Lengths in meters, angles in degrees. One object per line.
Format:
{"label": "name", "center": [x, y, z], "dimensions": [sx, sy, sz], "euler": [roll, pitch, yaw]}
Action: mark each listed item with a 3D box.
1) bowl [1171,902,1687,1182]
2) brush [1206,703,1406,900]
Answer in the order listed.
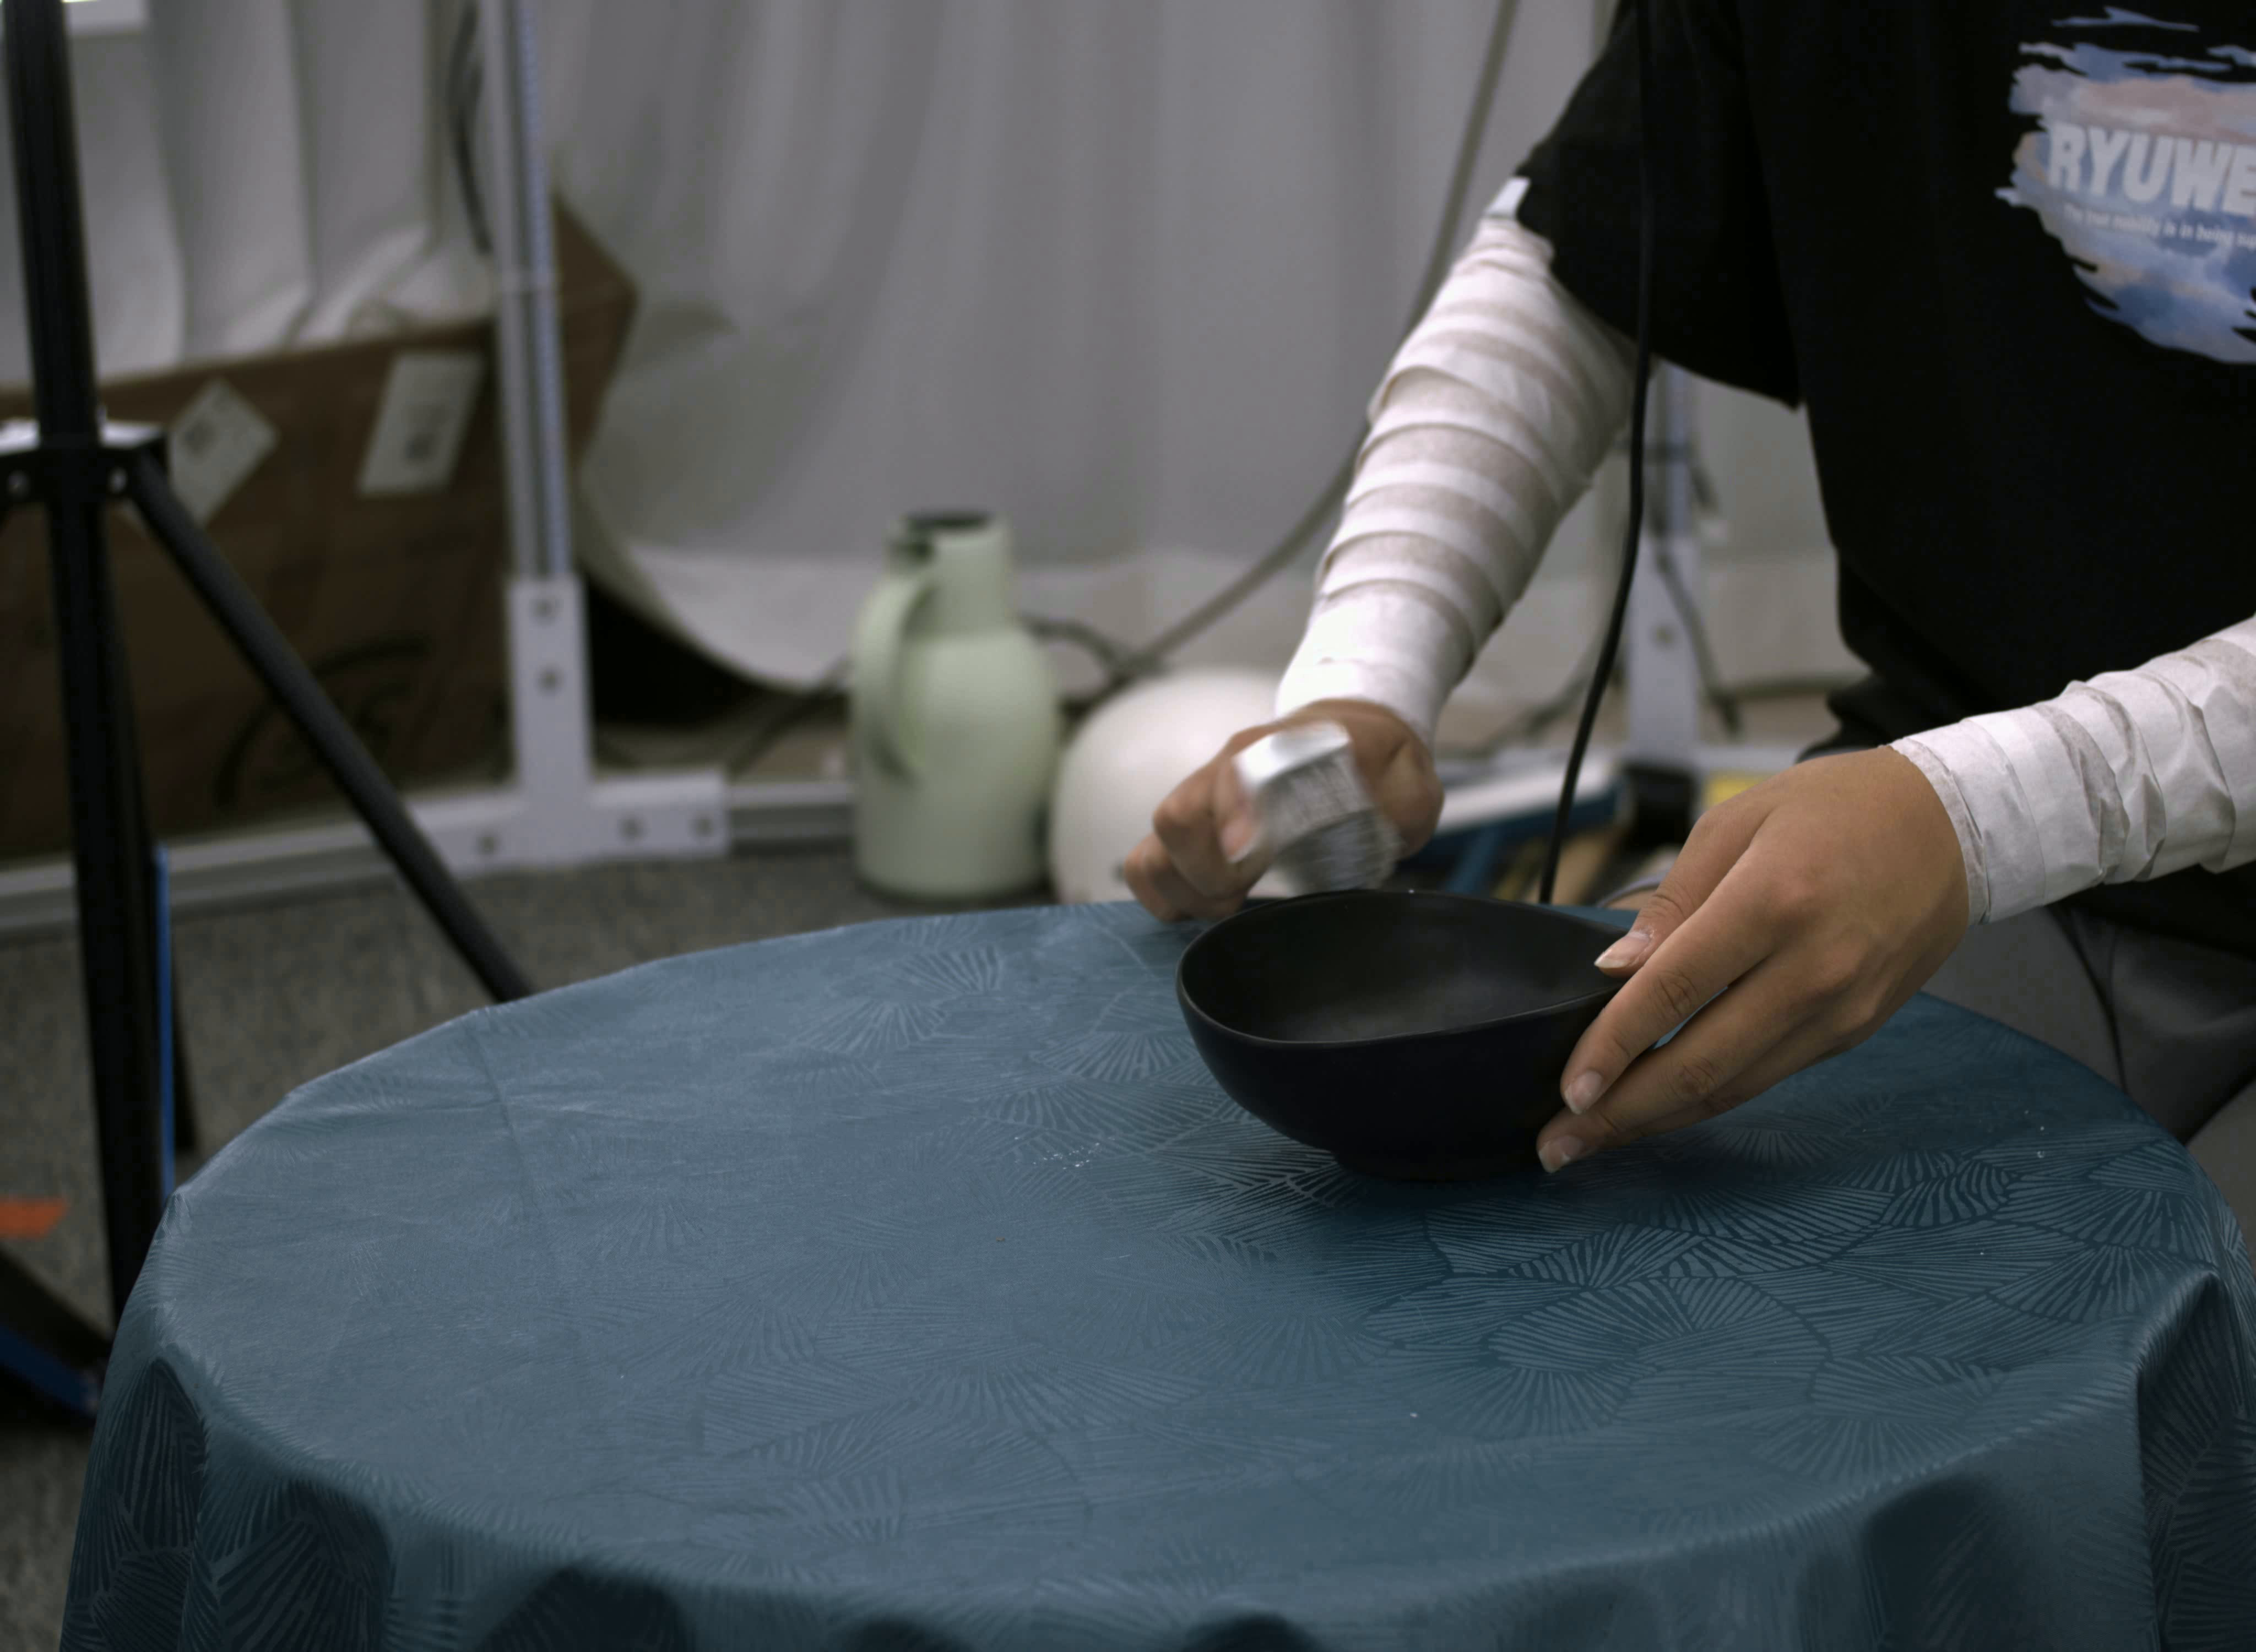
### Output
{"label": "bowl", "center": [0.090, 0.066, 1.577], "dimensions": [0.166, 0.067, 0.140], "euler": [-14, 19, -43]}
{"label": "brush", "center": [0.056, 0.009, 1.712], "dimensions": [0.034, 0.050, 0.243], "euler": [-26, -8, -9]}
